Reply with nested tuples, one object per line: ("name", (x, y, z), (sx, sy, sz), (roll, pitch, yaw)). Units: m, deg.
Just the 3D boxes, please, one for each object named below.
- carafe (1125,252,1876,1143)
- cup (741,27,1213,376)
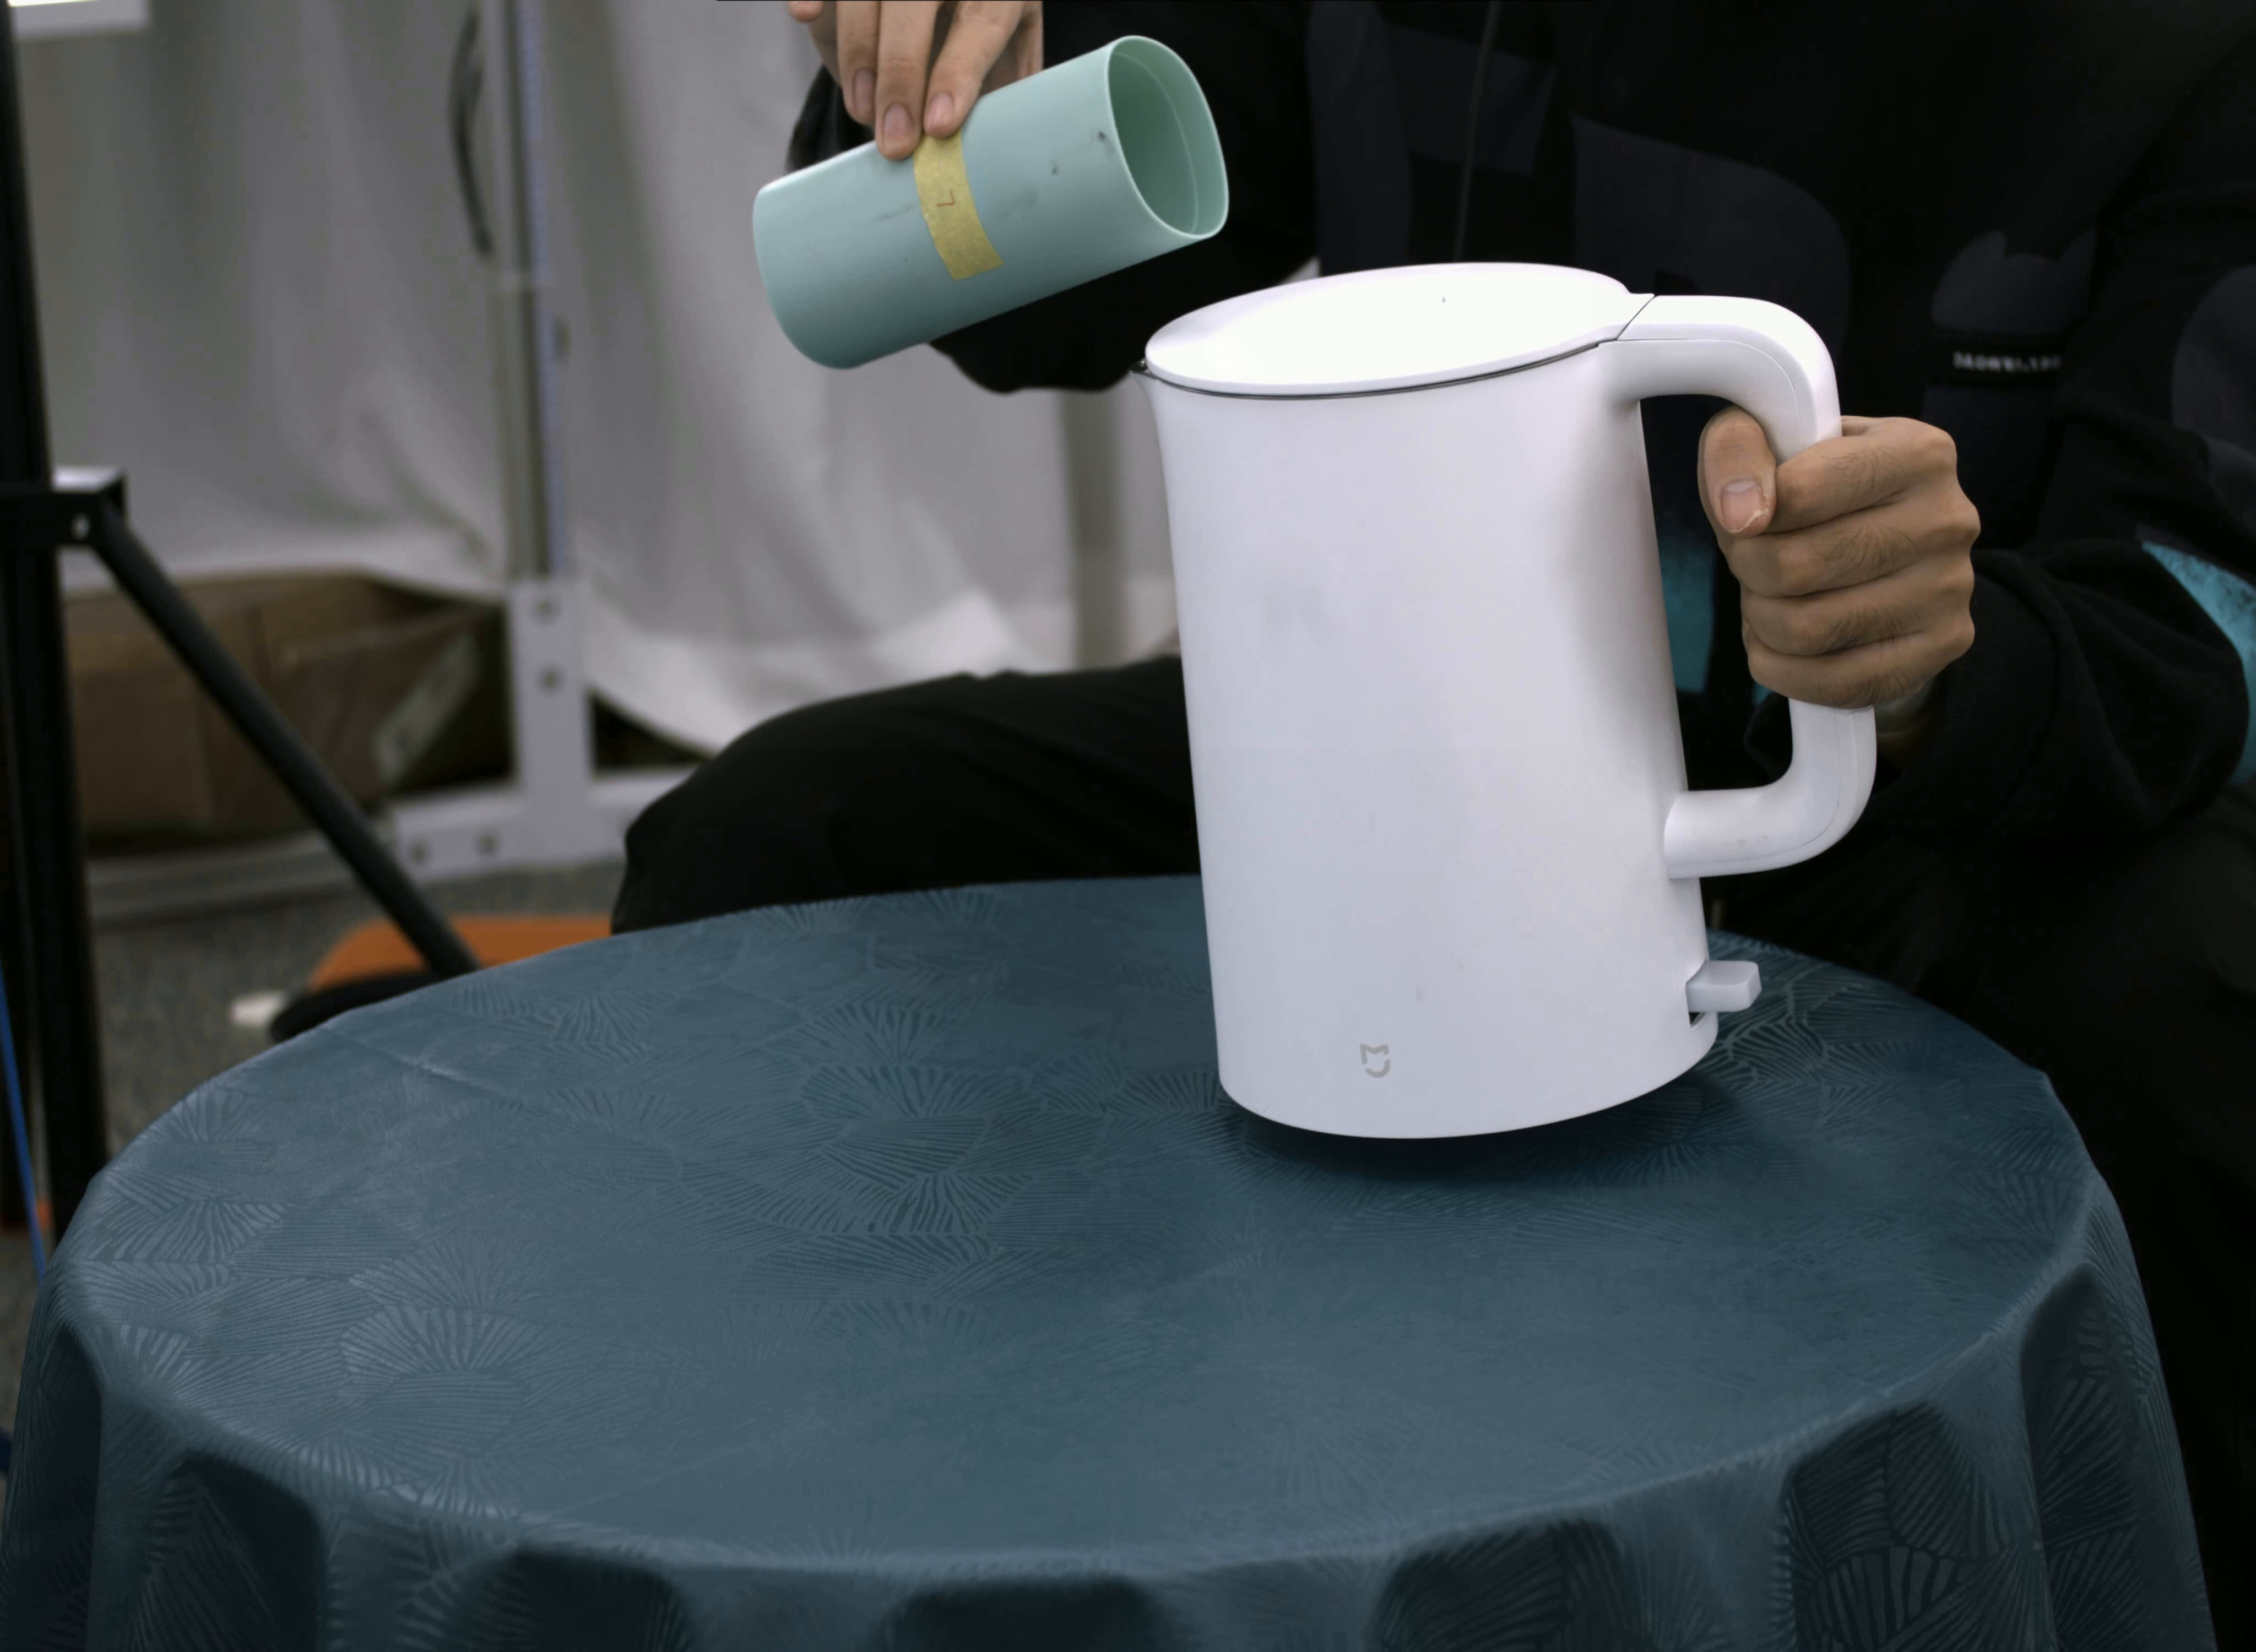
("carafe", (0.113, -0.040, 1.569), (0.216, 0.239, 0.150), (-1, 18, 23))
("cup", (-0.045, -0.185, 1.596), (0.134, 0.067, 0.065), (-19, 5, 32))
